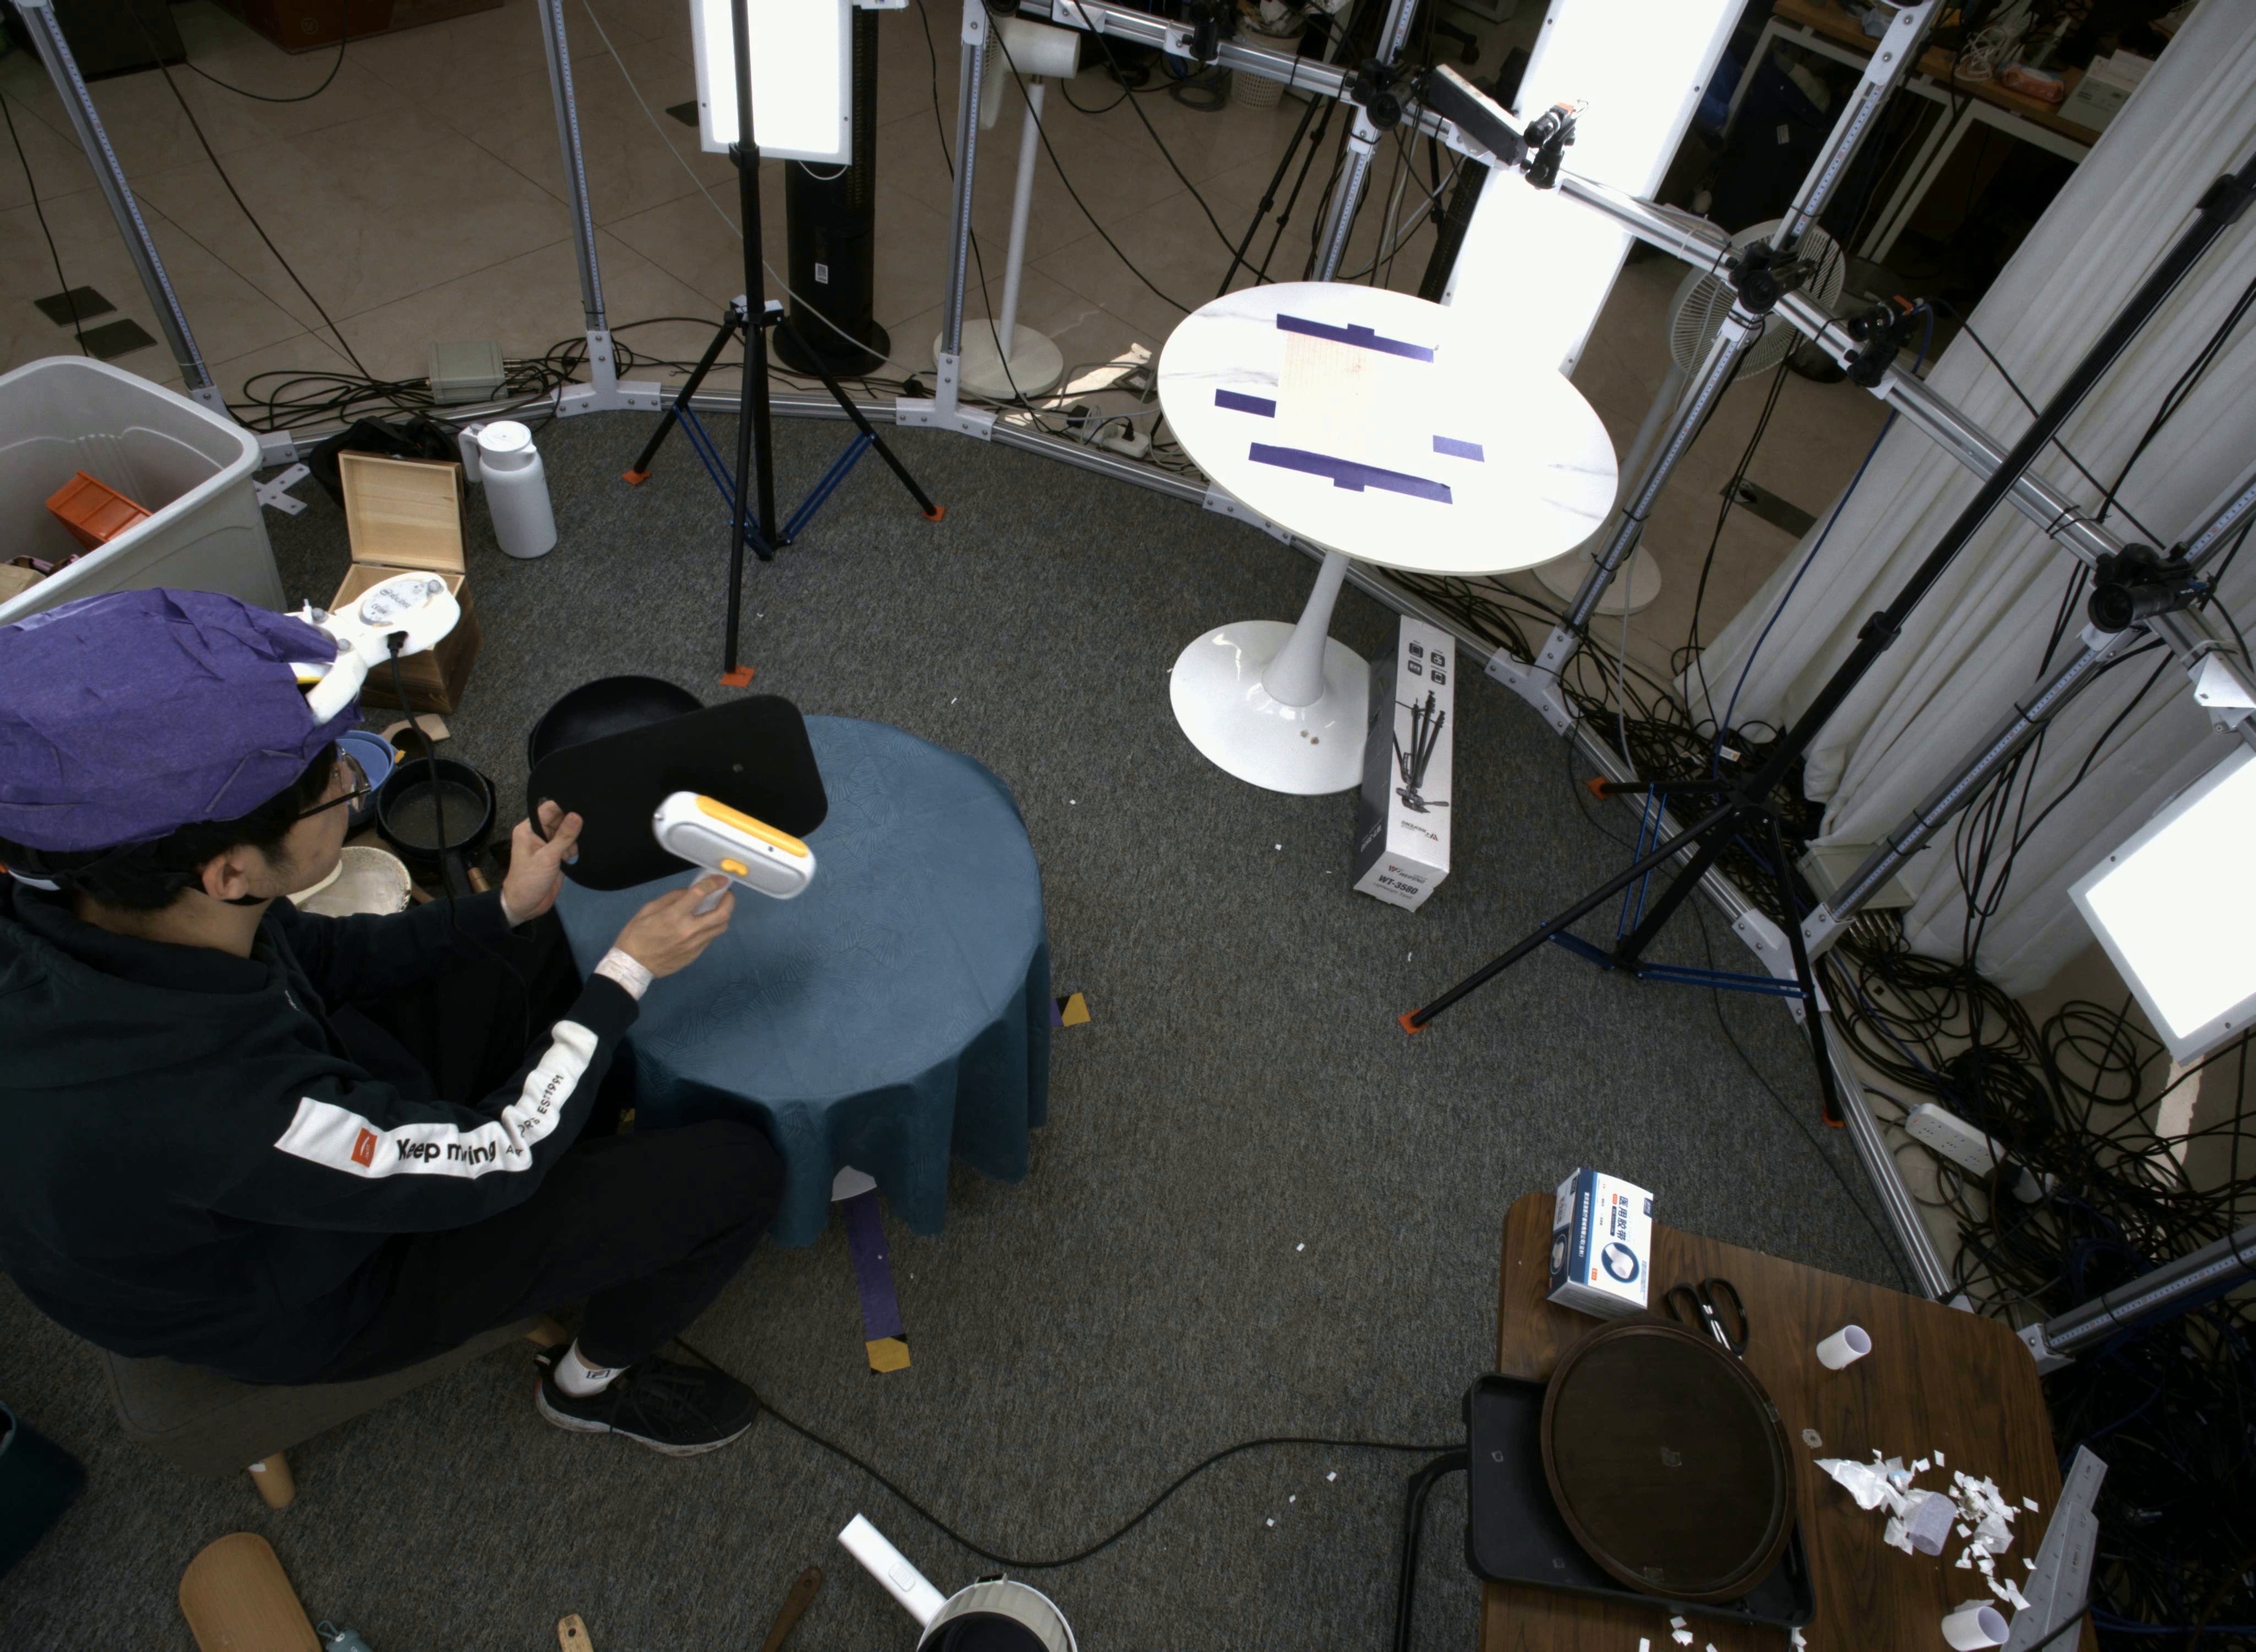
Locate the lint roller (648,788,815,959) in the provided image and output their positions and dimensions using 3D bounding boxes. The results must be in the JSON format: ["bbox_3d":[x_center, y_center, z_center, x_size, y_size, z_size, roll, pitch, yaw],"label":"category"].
[{"bbox_3d":[-0.479,0.065,1.481,0.198,0.193,0.072,23,26,-38],"label":"lint roller"}]

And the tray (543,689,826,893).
[{"bbox_3d":[-0.521,-0.036,1.479,0.325,0.218,0.009,-18,42,-14],"label":"tray"}]
